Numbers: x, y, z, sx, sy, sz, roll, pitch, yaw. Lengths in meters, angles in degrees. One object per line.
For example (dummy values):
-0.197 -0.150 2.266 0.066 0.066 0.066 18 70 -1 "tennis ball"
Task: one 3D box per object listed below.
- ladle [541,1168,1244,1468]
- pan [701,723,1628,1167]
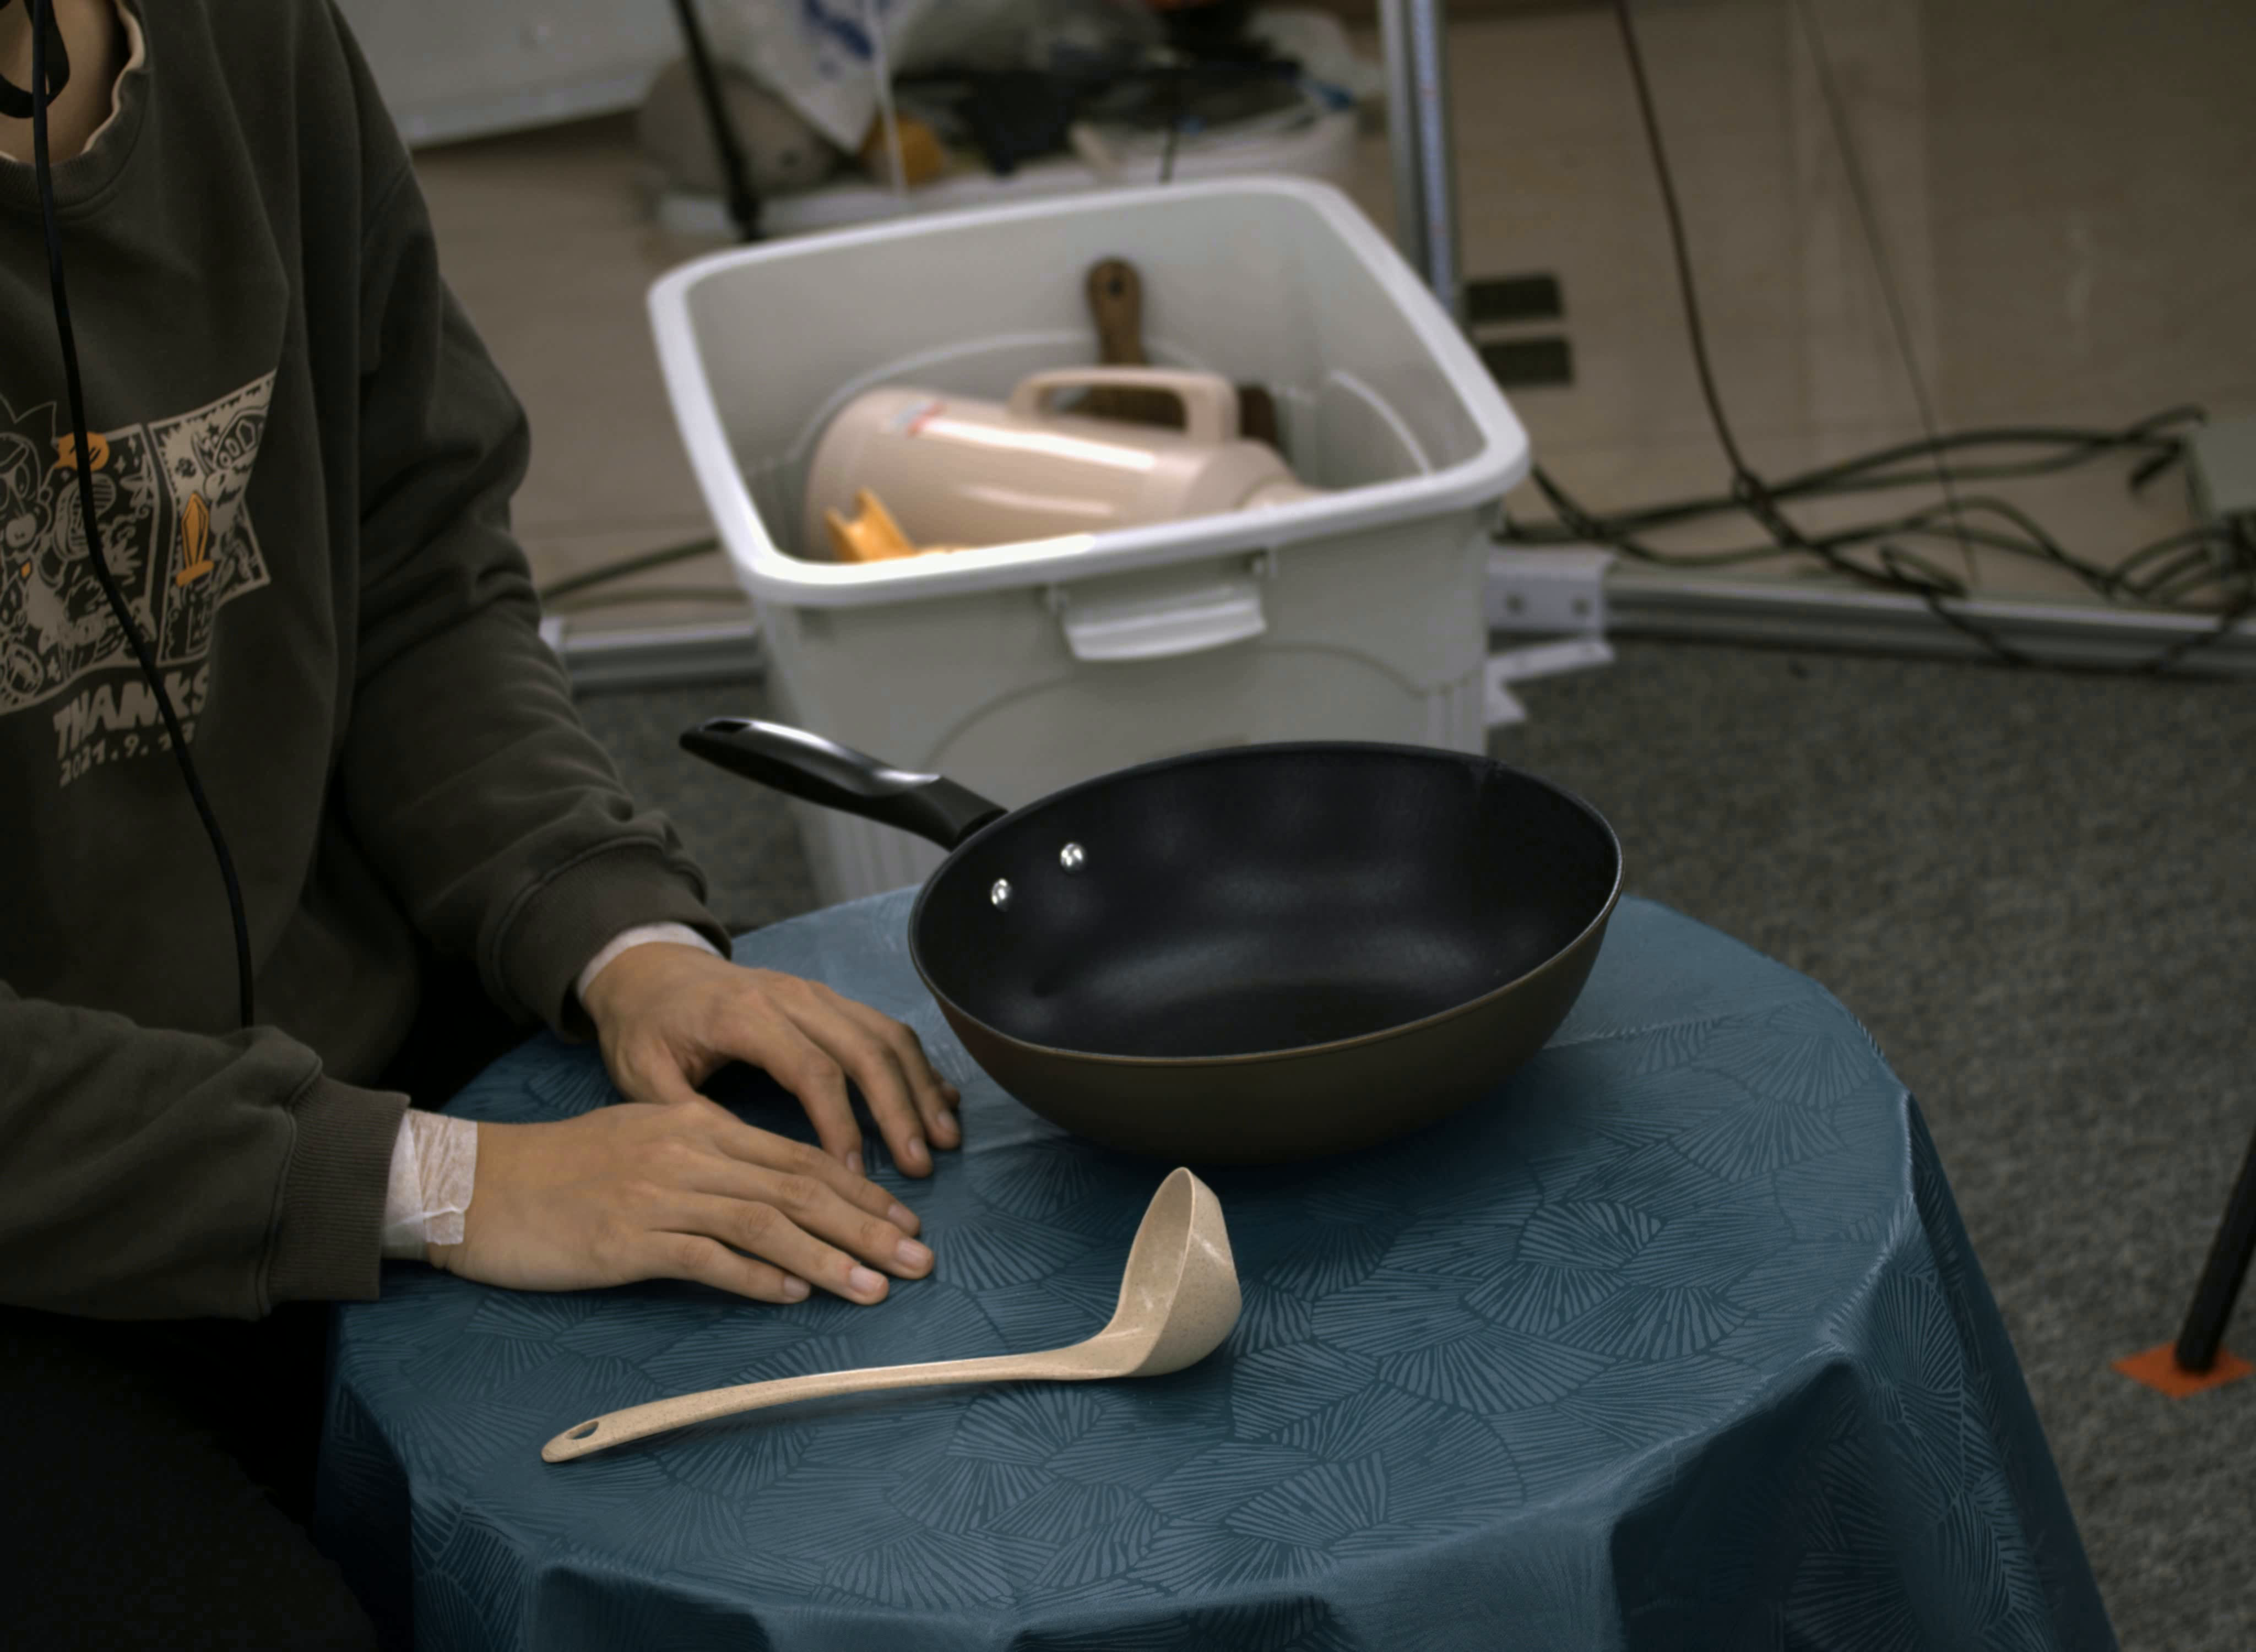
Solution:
-0.086 0.173 2.006 0.254 0.074 0.071 -8 27 -6 "ladle"
-0.010 0.041 2.260 0.460 0.088 0.285 16 33 41 "pan"
